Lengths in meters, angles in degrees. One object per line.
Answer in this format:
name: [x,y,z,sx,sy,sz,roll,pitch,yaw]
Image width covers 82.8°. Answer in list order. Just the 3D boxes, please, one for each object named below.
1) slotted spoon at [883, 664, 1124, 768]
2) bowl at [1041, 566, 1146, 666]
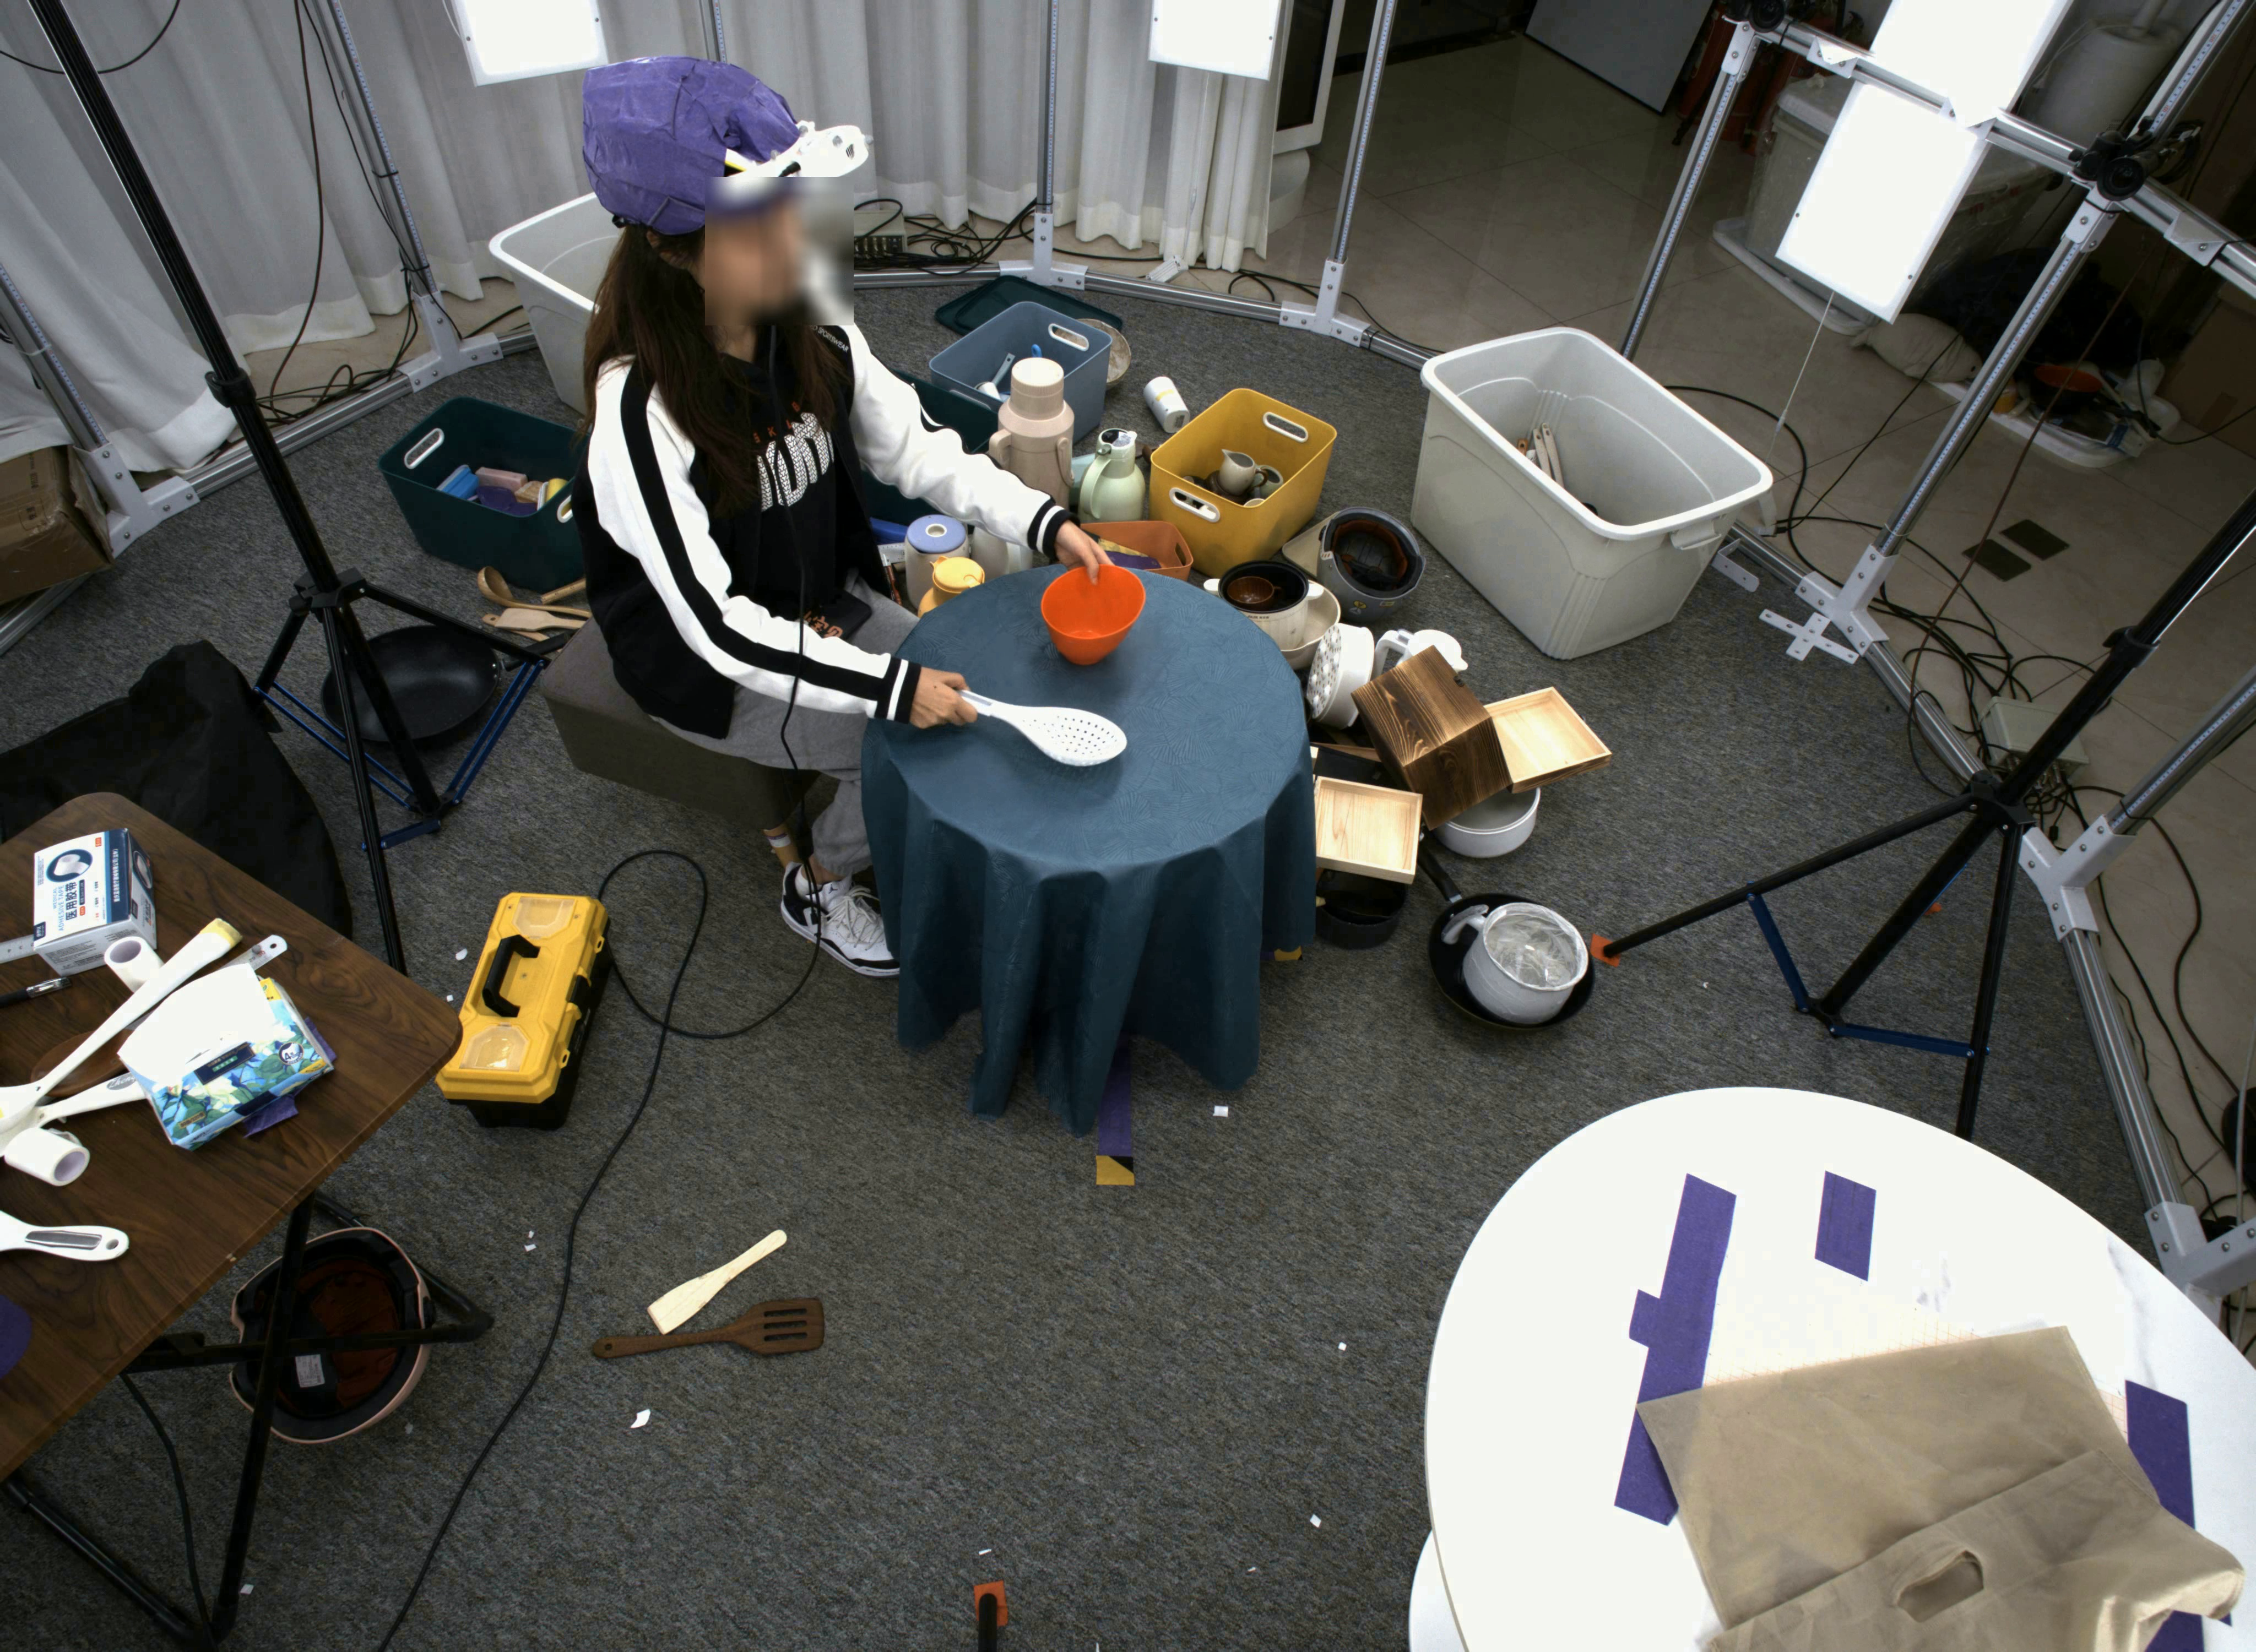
slotted spoon: [-0.172,-0.155,1.744,0.351,0.045,0.138,24,32,9]
bowl: [-0.051,-0.293,1.856,0.148,0.102,0.152,1,51,-2]
